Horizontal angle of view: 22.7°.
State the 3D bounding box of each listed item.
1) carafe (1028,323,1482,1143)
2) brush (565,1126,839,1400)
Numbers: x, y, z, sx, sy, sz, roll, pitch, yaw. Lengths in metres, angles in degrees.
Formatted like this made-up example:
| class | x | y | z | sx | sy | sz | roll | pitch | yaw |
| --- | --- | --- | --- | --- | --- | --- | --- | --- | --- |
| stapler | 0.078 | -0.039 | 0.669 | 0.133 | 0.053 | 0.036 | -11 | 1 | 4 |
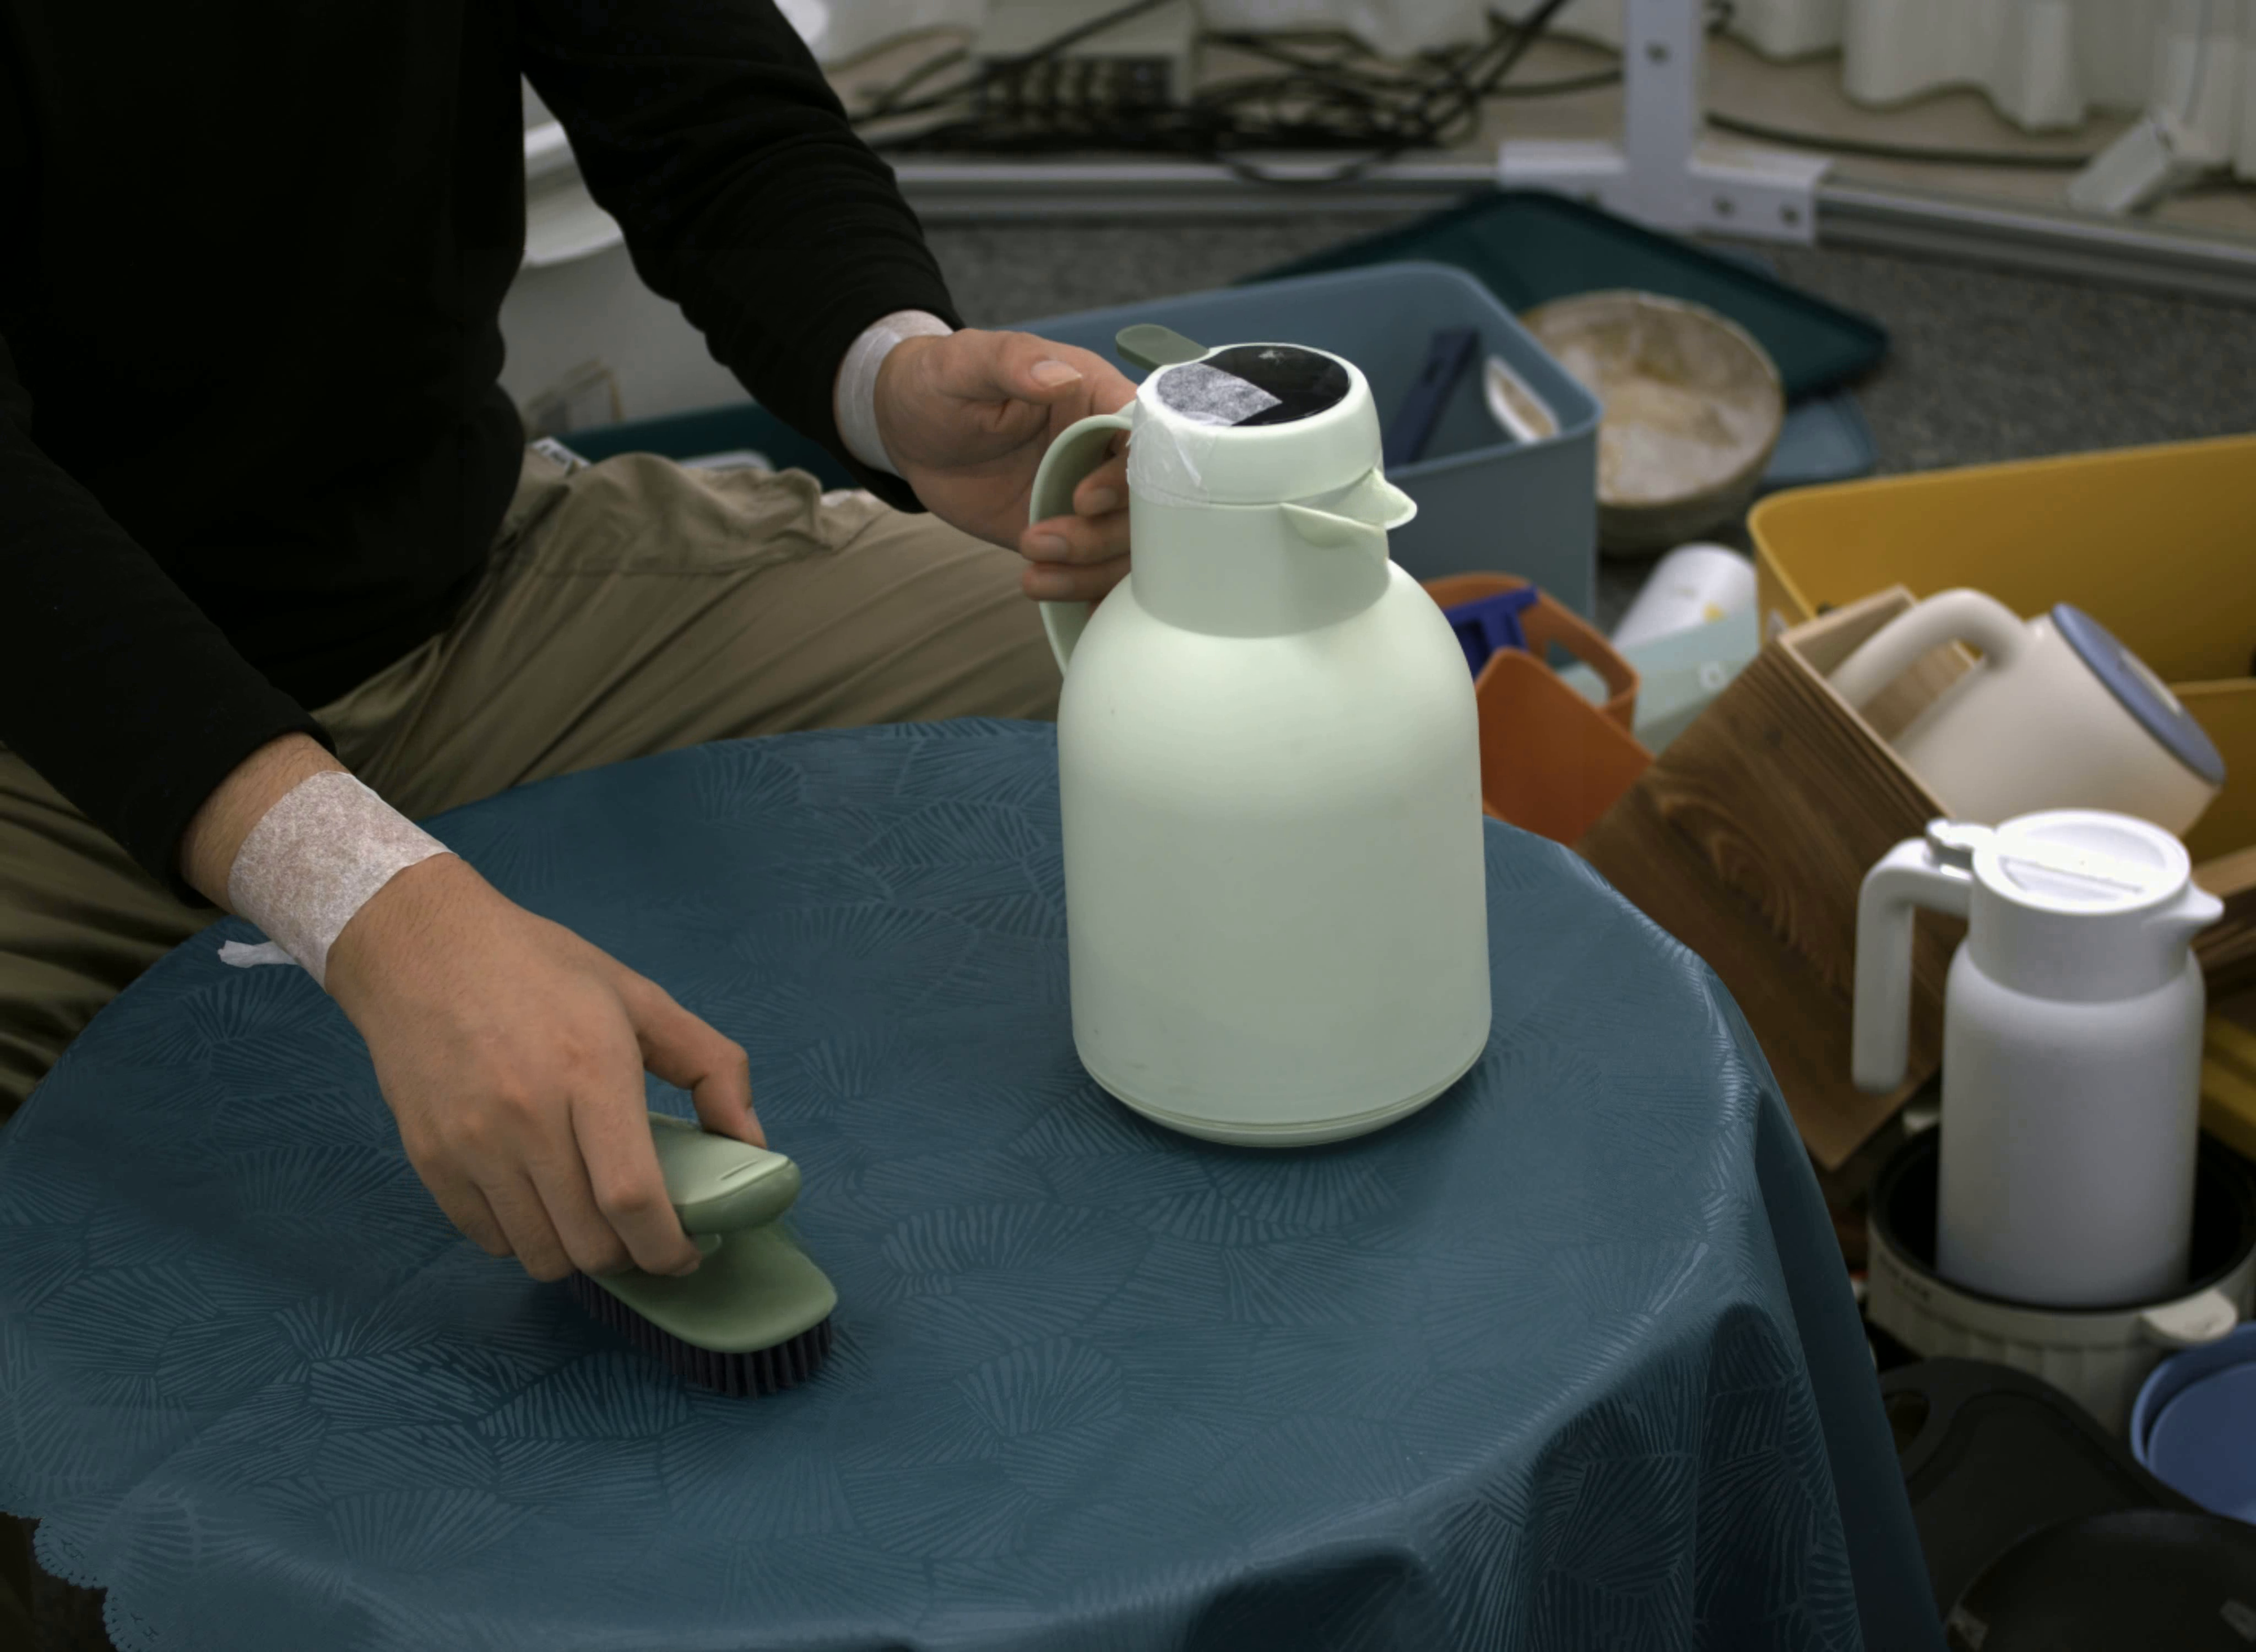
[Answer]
| class | x | y | z | sx | sy | sz | roll | pitch | yaw |
| --- | --- | --- | --- | --- | --- | --- | --- | --- | --- |
| carafe | 0.036 | -0.038 | 1.889 | 0.145 | 0.254 | 0.187 | -21 | 29 | -34 |
| brush | -0.137 | 0.138 | 1.796 | 0.060 | 0.075 | 0.122 | -23 | 14 | -28 |
